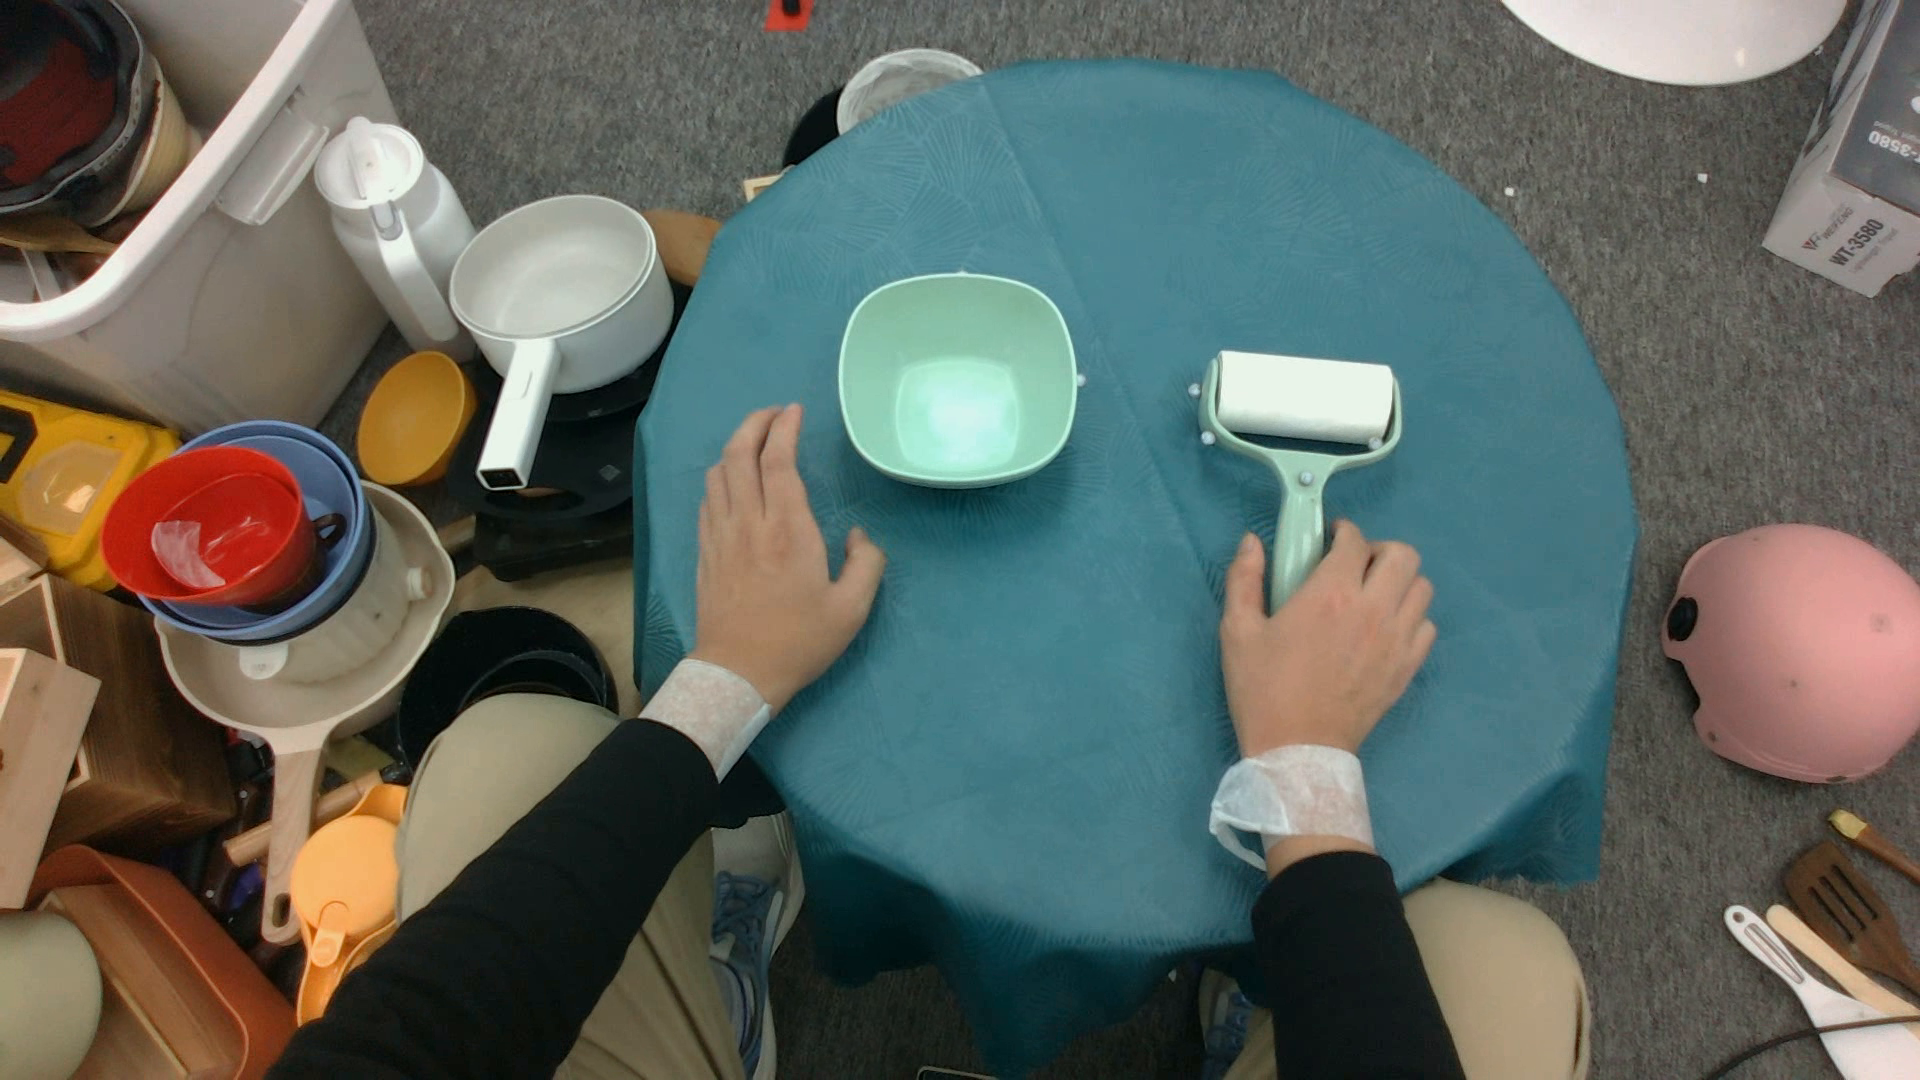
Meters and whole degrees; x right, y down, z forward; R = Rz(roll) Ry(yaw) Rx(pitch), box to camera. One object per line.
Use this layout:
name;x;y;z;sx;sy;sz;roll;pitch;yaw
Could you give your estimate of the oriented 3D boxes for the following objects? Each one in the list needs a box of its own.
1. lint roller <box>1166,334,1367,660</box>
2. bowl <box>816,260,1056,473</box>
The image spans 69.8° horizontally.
lint roller;0.178;-0.029;0.805;0.116;0.048;0.198;6;68;-1
bowl;-0.015;-0.094;0.820;0.151;0.058;0.152;1;65;-2
